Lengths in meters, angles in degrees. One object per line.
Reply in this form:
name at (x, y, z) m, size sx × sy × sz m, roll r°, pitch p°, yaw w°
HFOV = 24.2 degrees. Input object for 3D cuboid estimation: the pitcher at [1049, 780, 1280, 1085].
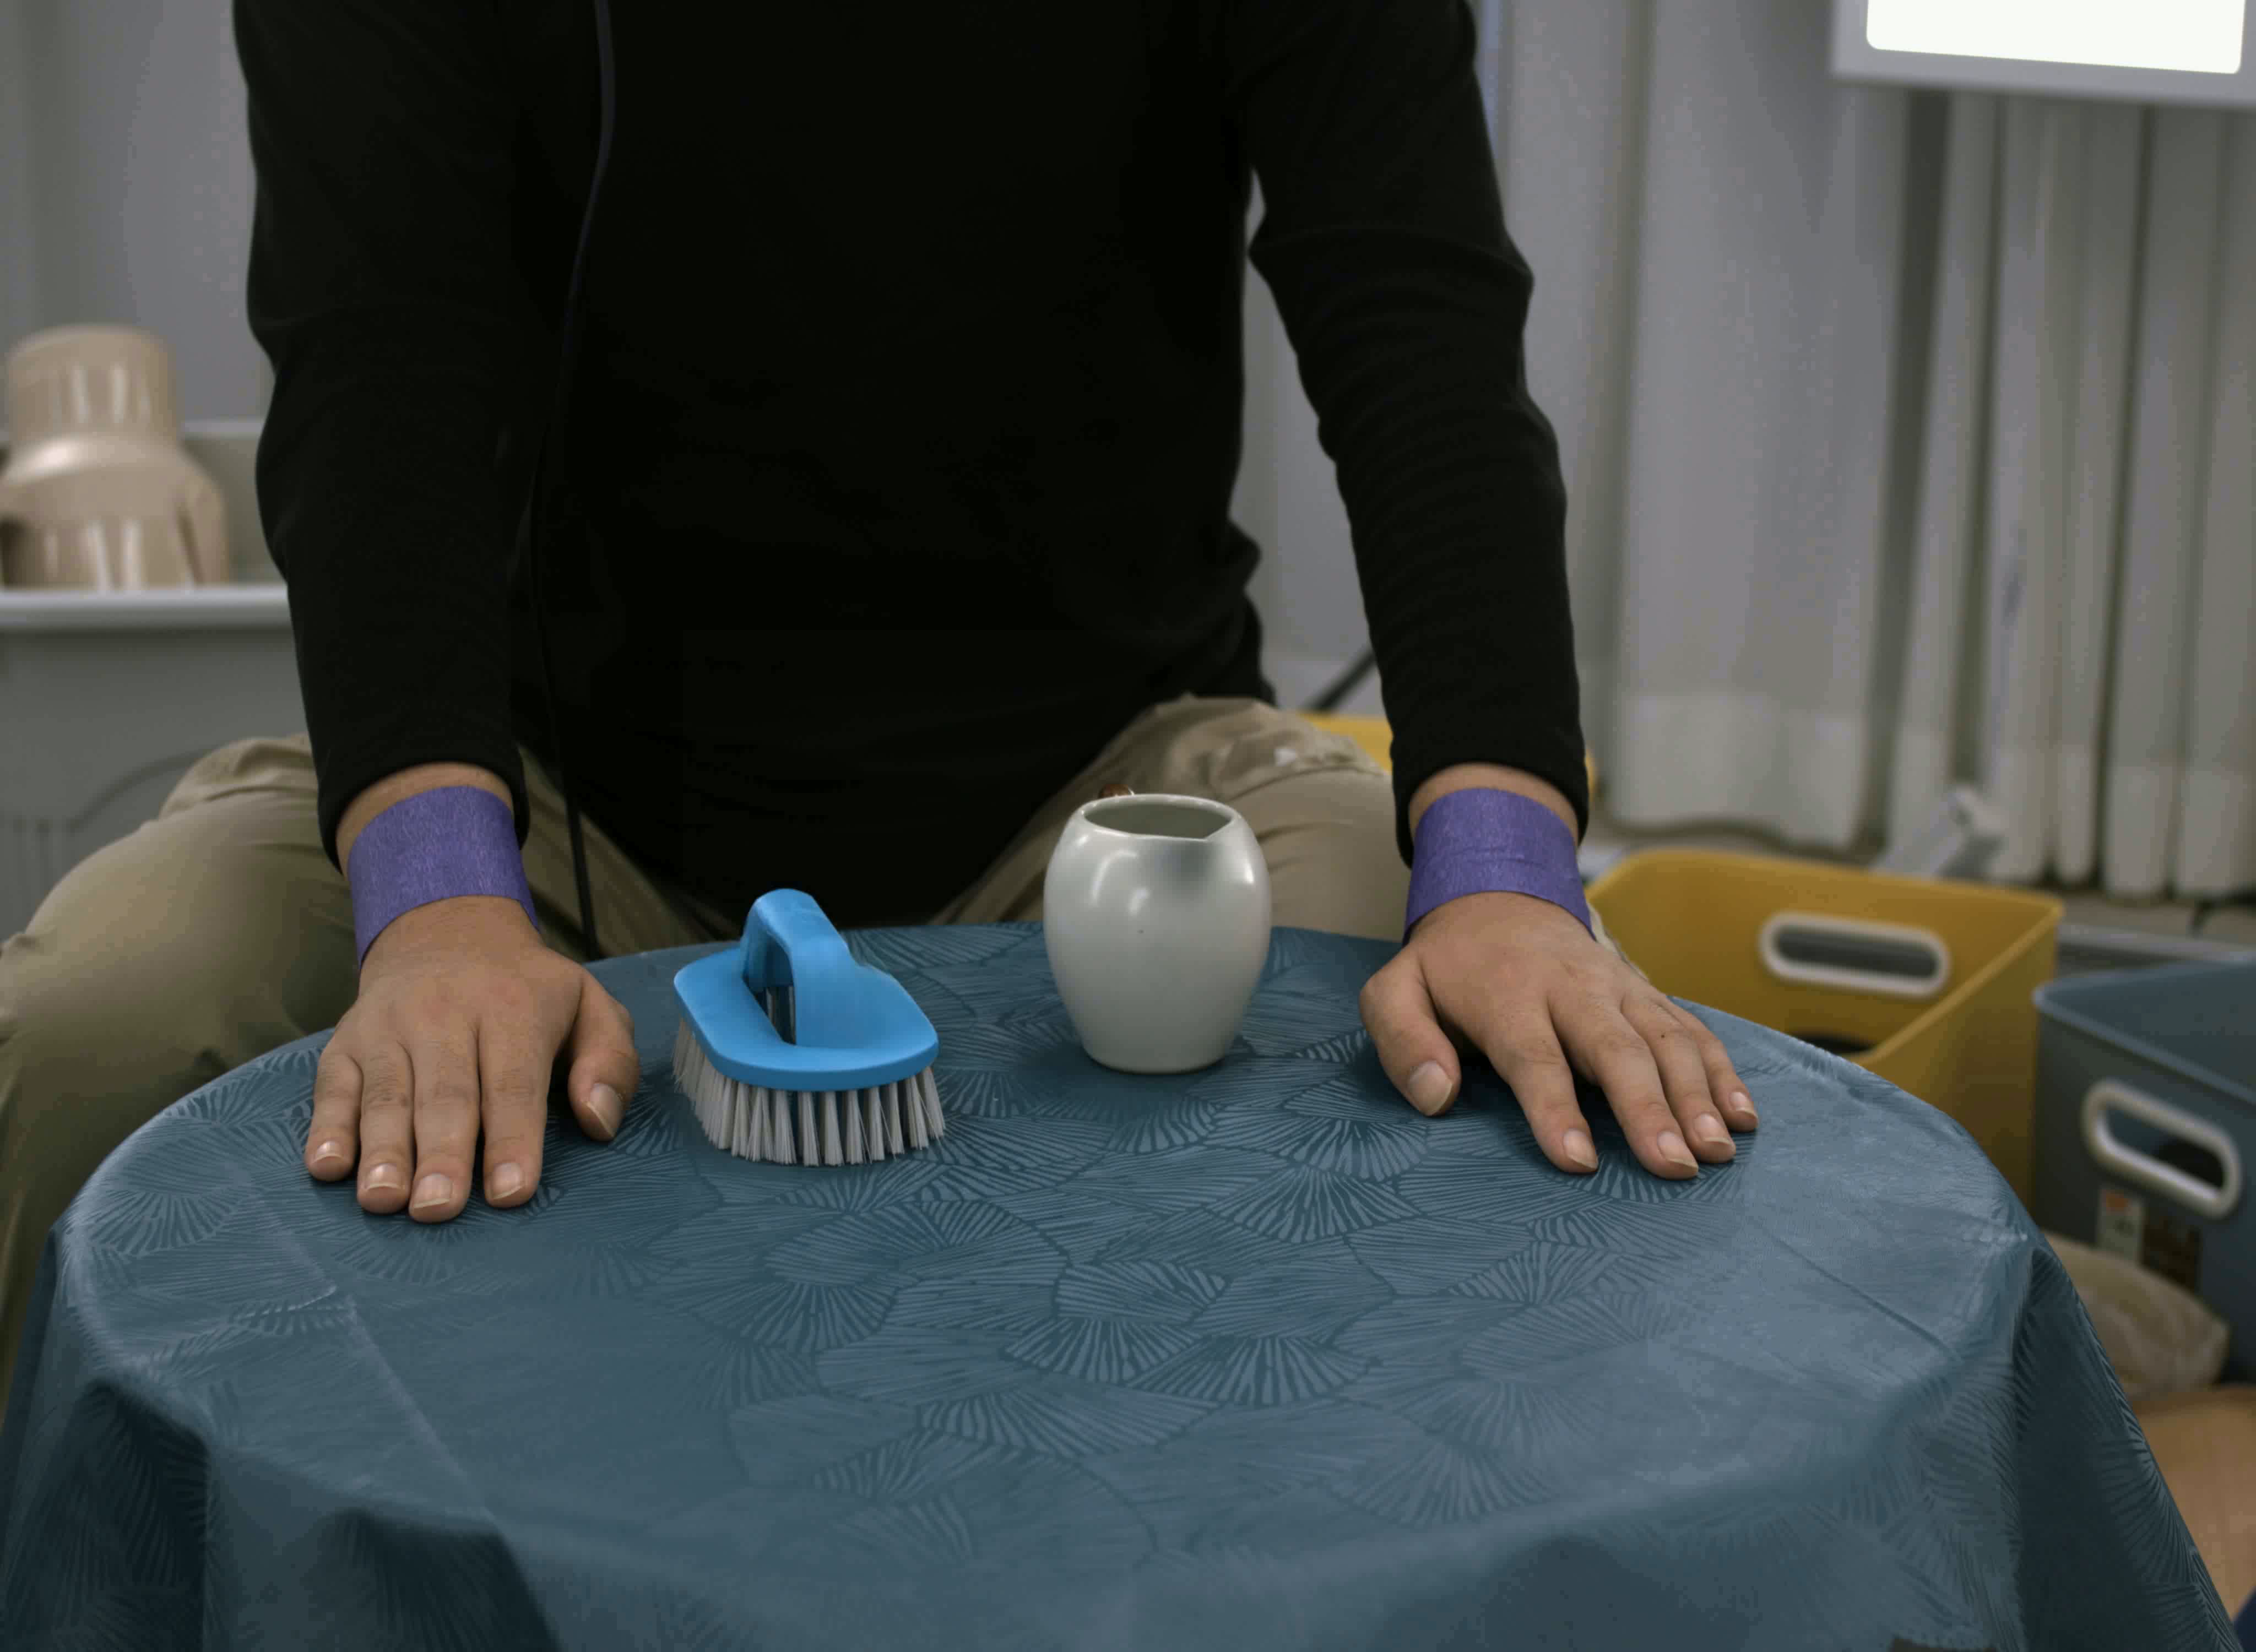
pitcher at (0.010, 0.034, 1.739) m, size 0.076 × 0.088 × 0.118 m, roll 3°, pitch 19°, yaw -13°

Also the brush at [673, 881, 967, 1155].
brush at (-0.102, 0.056, 1.698) m, size 0.084 × 0.064 × 0.140 m, roll -8°, pitch 16°, yaw -12°
